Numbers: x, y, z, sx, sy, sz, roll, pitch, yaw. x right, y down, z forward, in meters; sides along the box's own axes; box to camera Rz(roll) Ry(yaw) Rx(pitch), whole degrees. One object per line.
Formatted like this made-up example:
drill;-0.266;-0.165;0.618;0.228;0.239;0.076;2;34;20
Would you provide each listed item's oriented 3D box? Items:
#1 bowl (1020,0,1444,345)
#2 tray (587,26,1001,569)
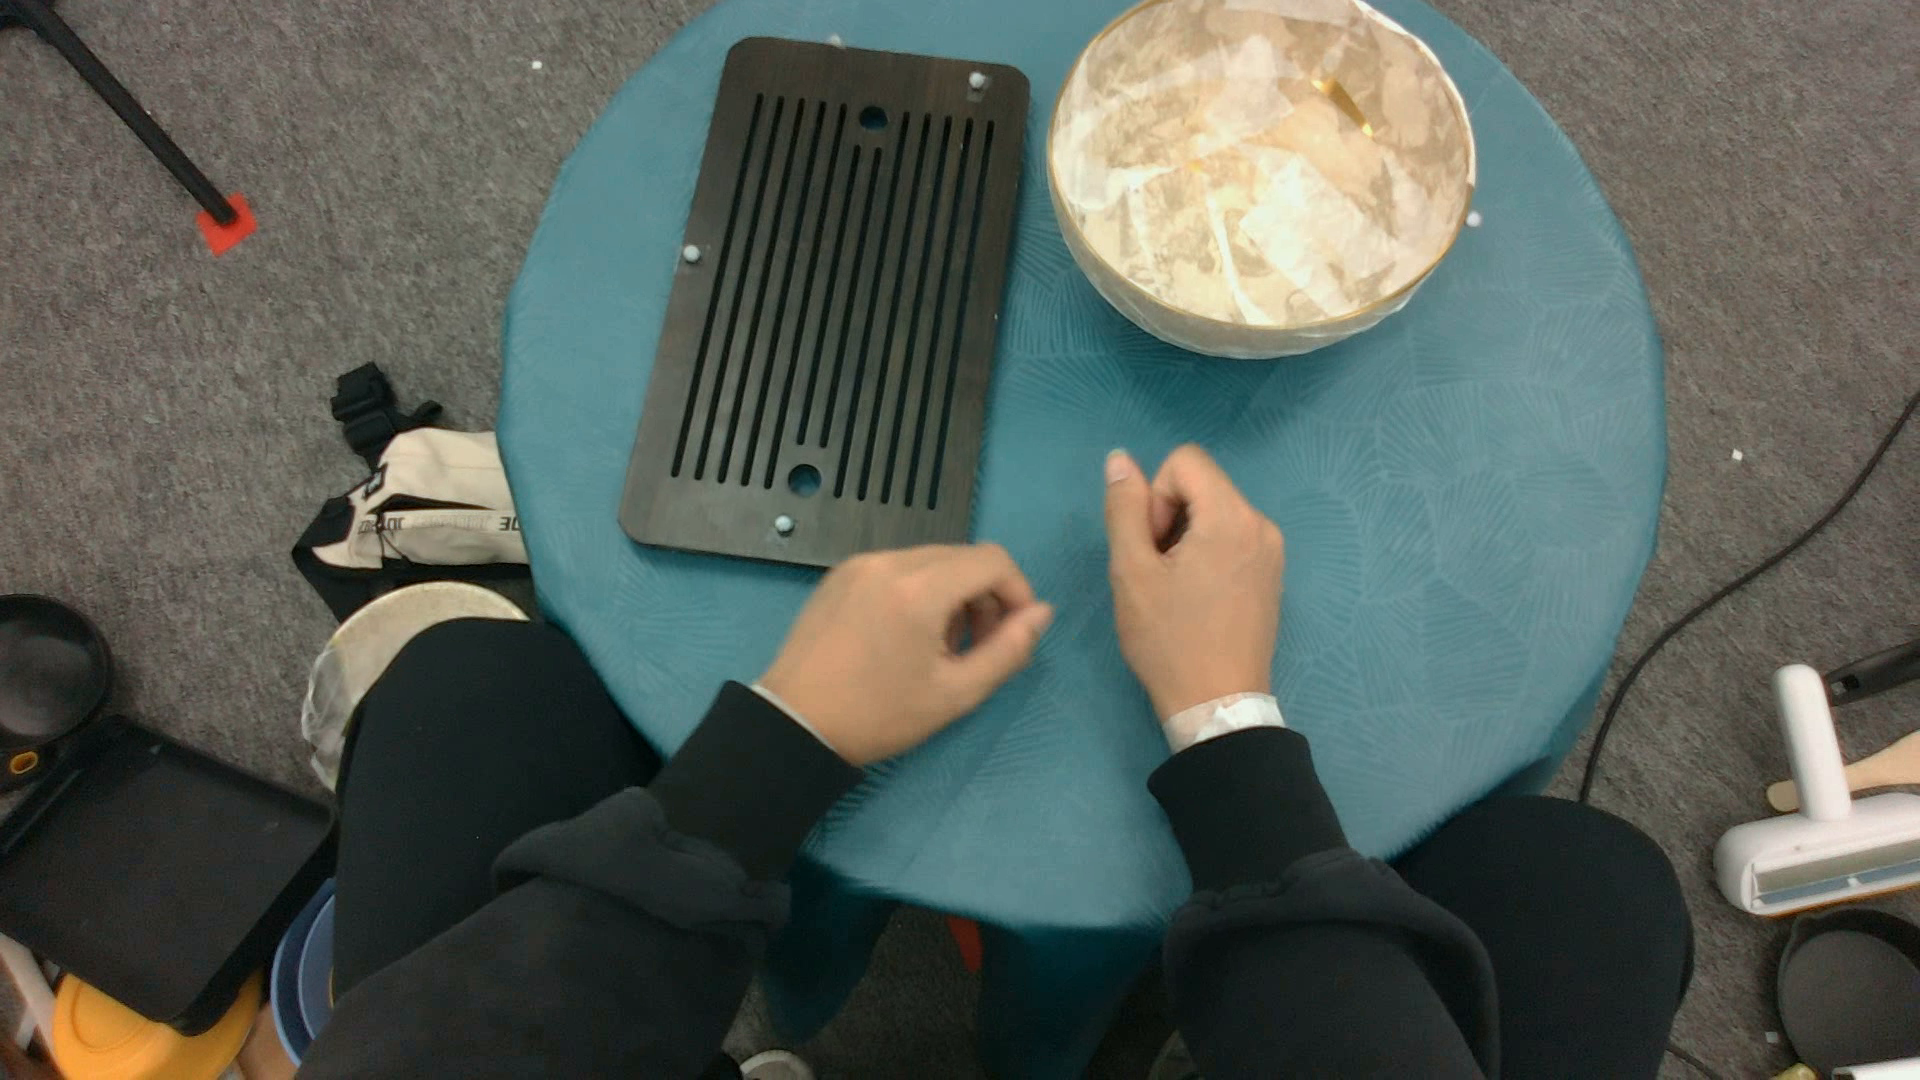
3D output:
bowl;0.126;-0.178;0.696;0.215;0.094;0.215;1;69;-2
tray;-0.079;-0.135;0.716;0.170;0.018;0.307;7;69;2
